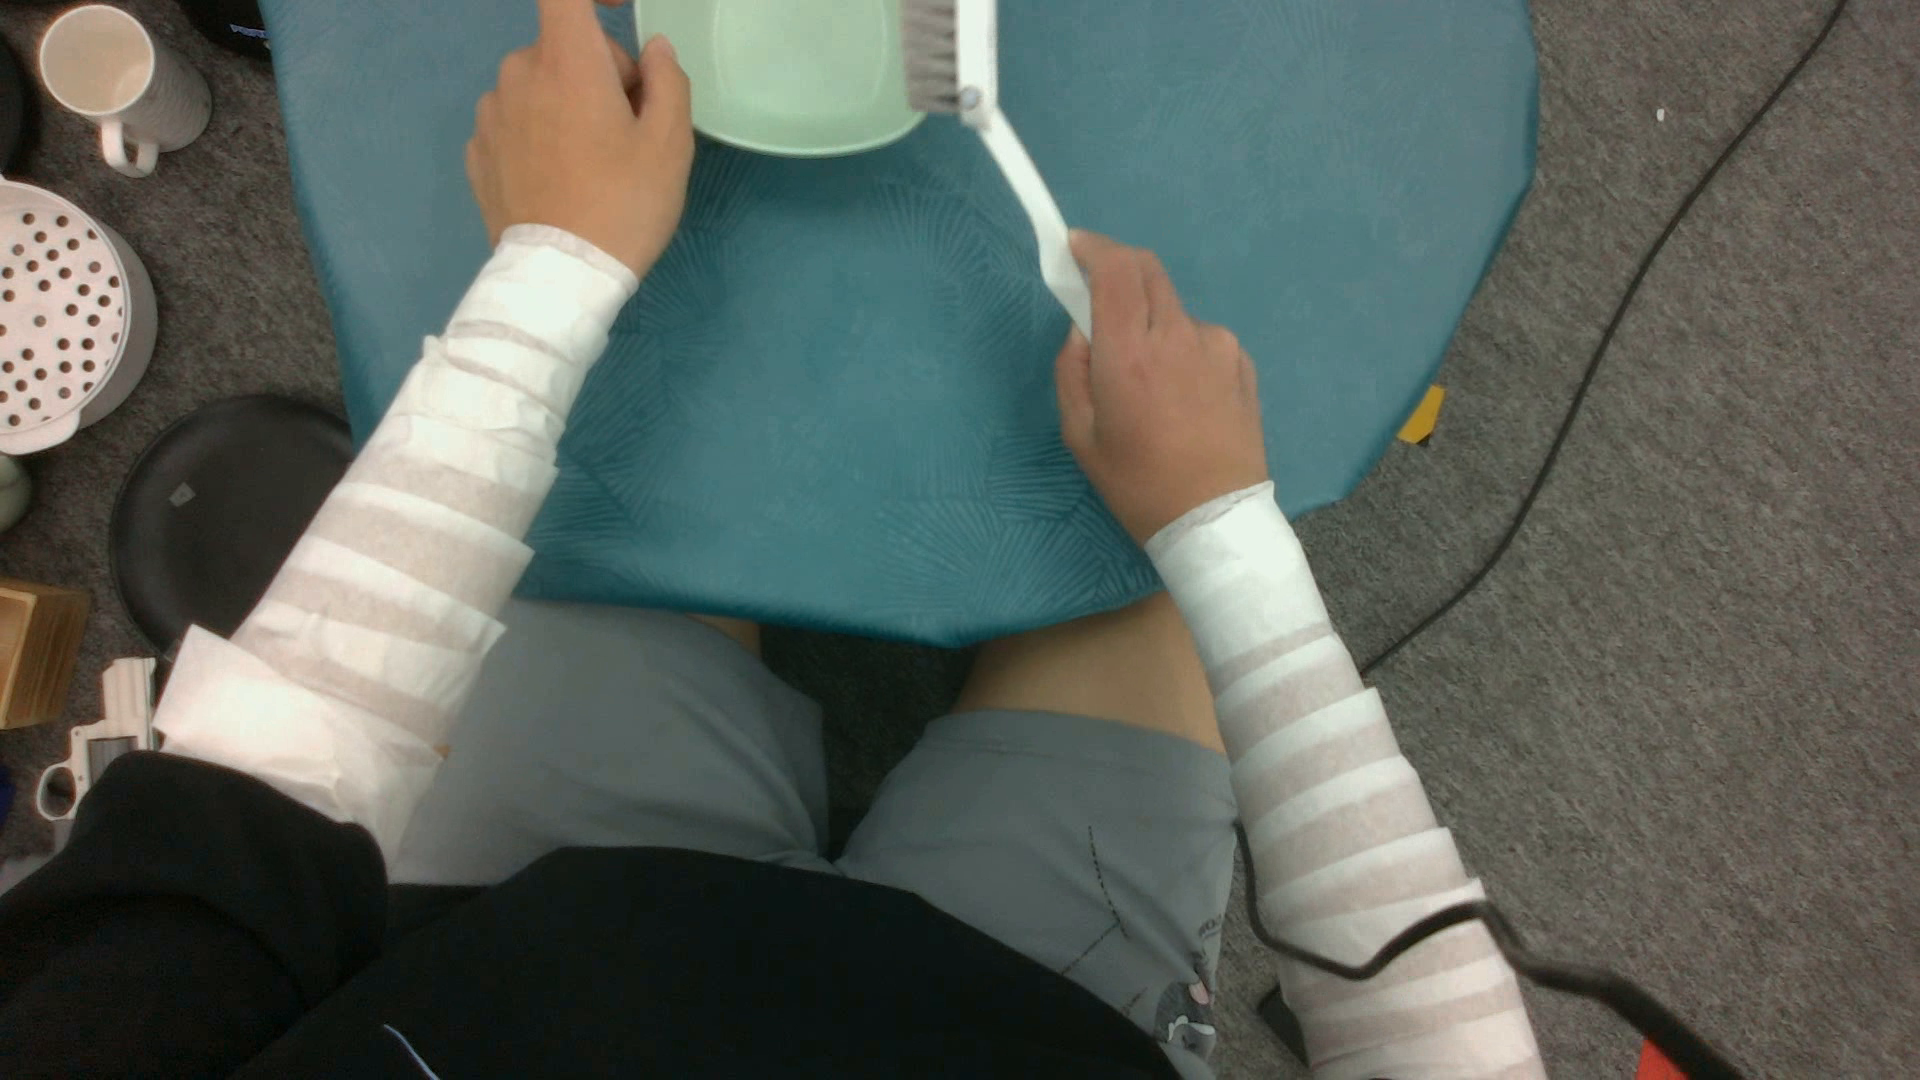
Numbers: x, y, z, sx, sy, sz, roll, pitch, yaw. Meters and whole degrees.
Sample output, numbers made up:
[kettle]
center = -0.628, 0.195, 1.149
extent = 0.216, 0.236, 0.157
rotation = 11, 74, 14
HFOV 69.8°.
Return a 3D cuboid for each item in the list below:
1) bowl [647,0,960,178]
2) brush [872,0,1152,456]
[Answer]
[bowl]
center = -0.070, -0.229, 0.638
extent = 0.151, 0.058, 0.151
rotation = 0, 87, -3
[brush]
center = 0.024, -0.131, 0.615
extent = 0.050, 0.034, 0.243
rotation = -17, 122, 20
